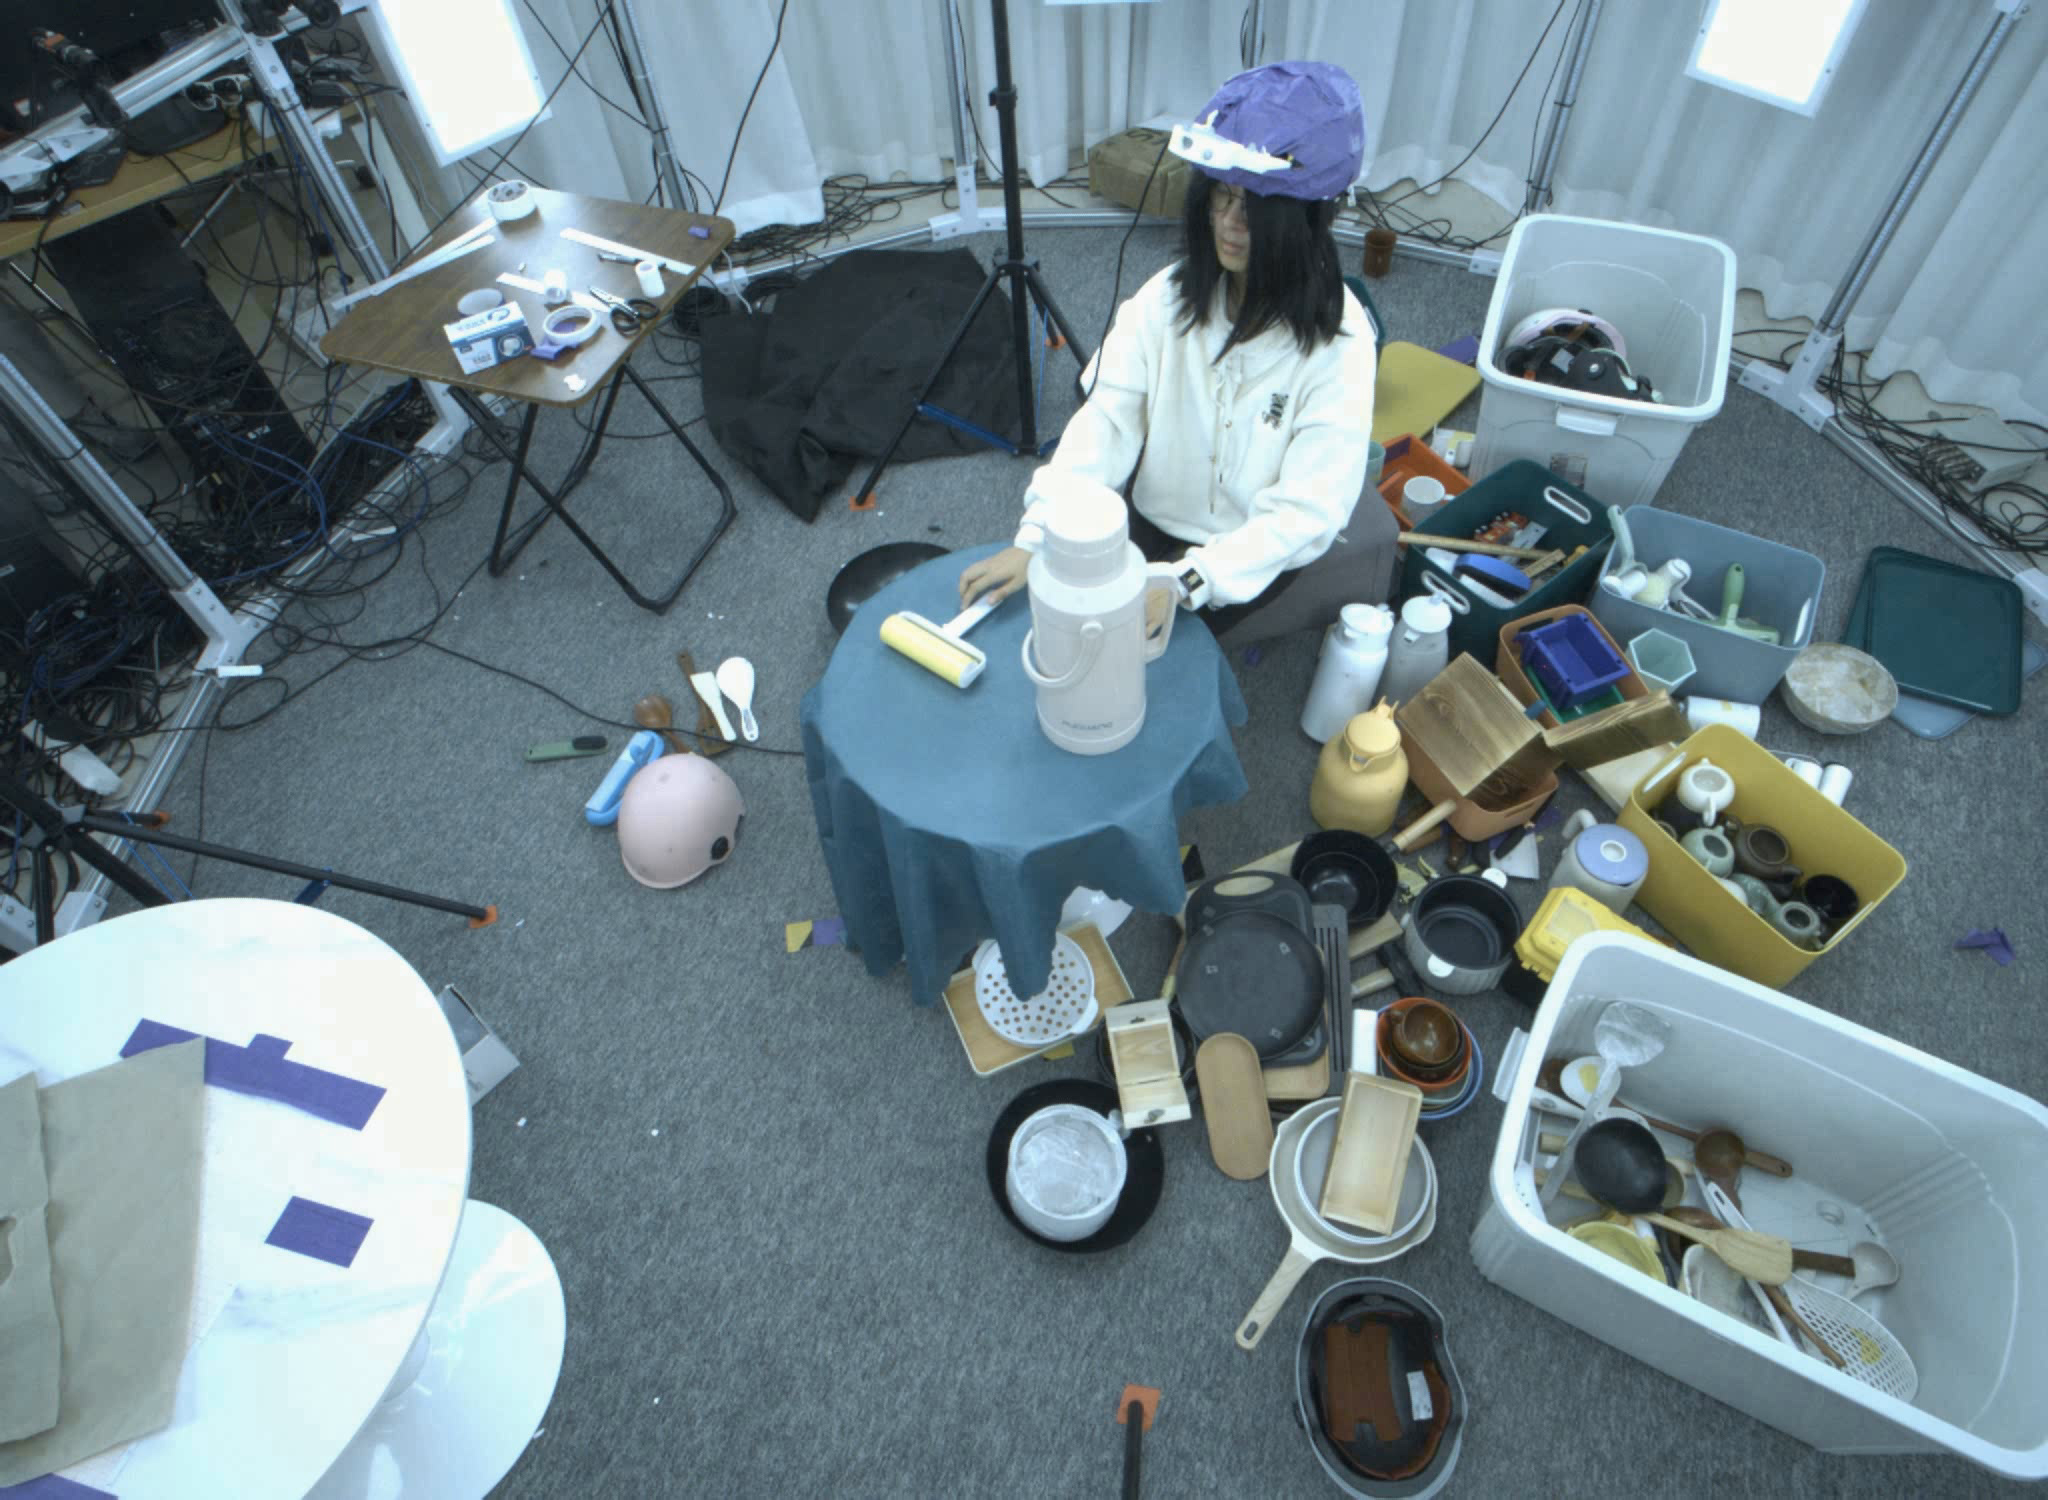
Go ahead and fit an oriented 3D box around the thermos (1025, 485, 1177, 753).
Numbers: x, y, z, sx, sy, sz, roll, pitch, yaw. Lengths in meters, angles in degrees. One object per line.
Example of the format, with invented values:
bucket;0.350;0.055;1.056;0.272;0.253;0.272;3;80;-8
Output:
thermos;0.100;-0.172;1.662;0.207;0.411;0.173;-4;54;1

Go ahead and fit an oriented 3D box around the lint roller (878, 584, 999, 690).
lint roller;-0.105;-0.201;1.900;0.171;0.052;0.192;31;68;21
